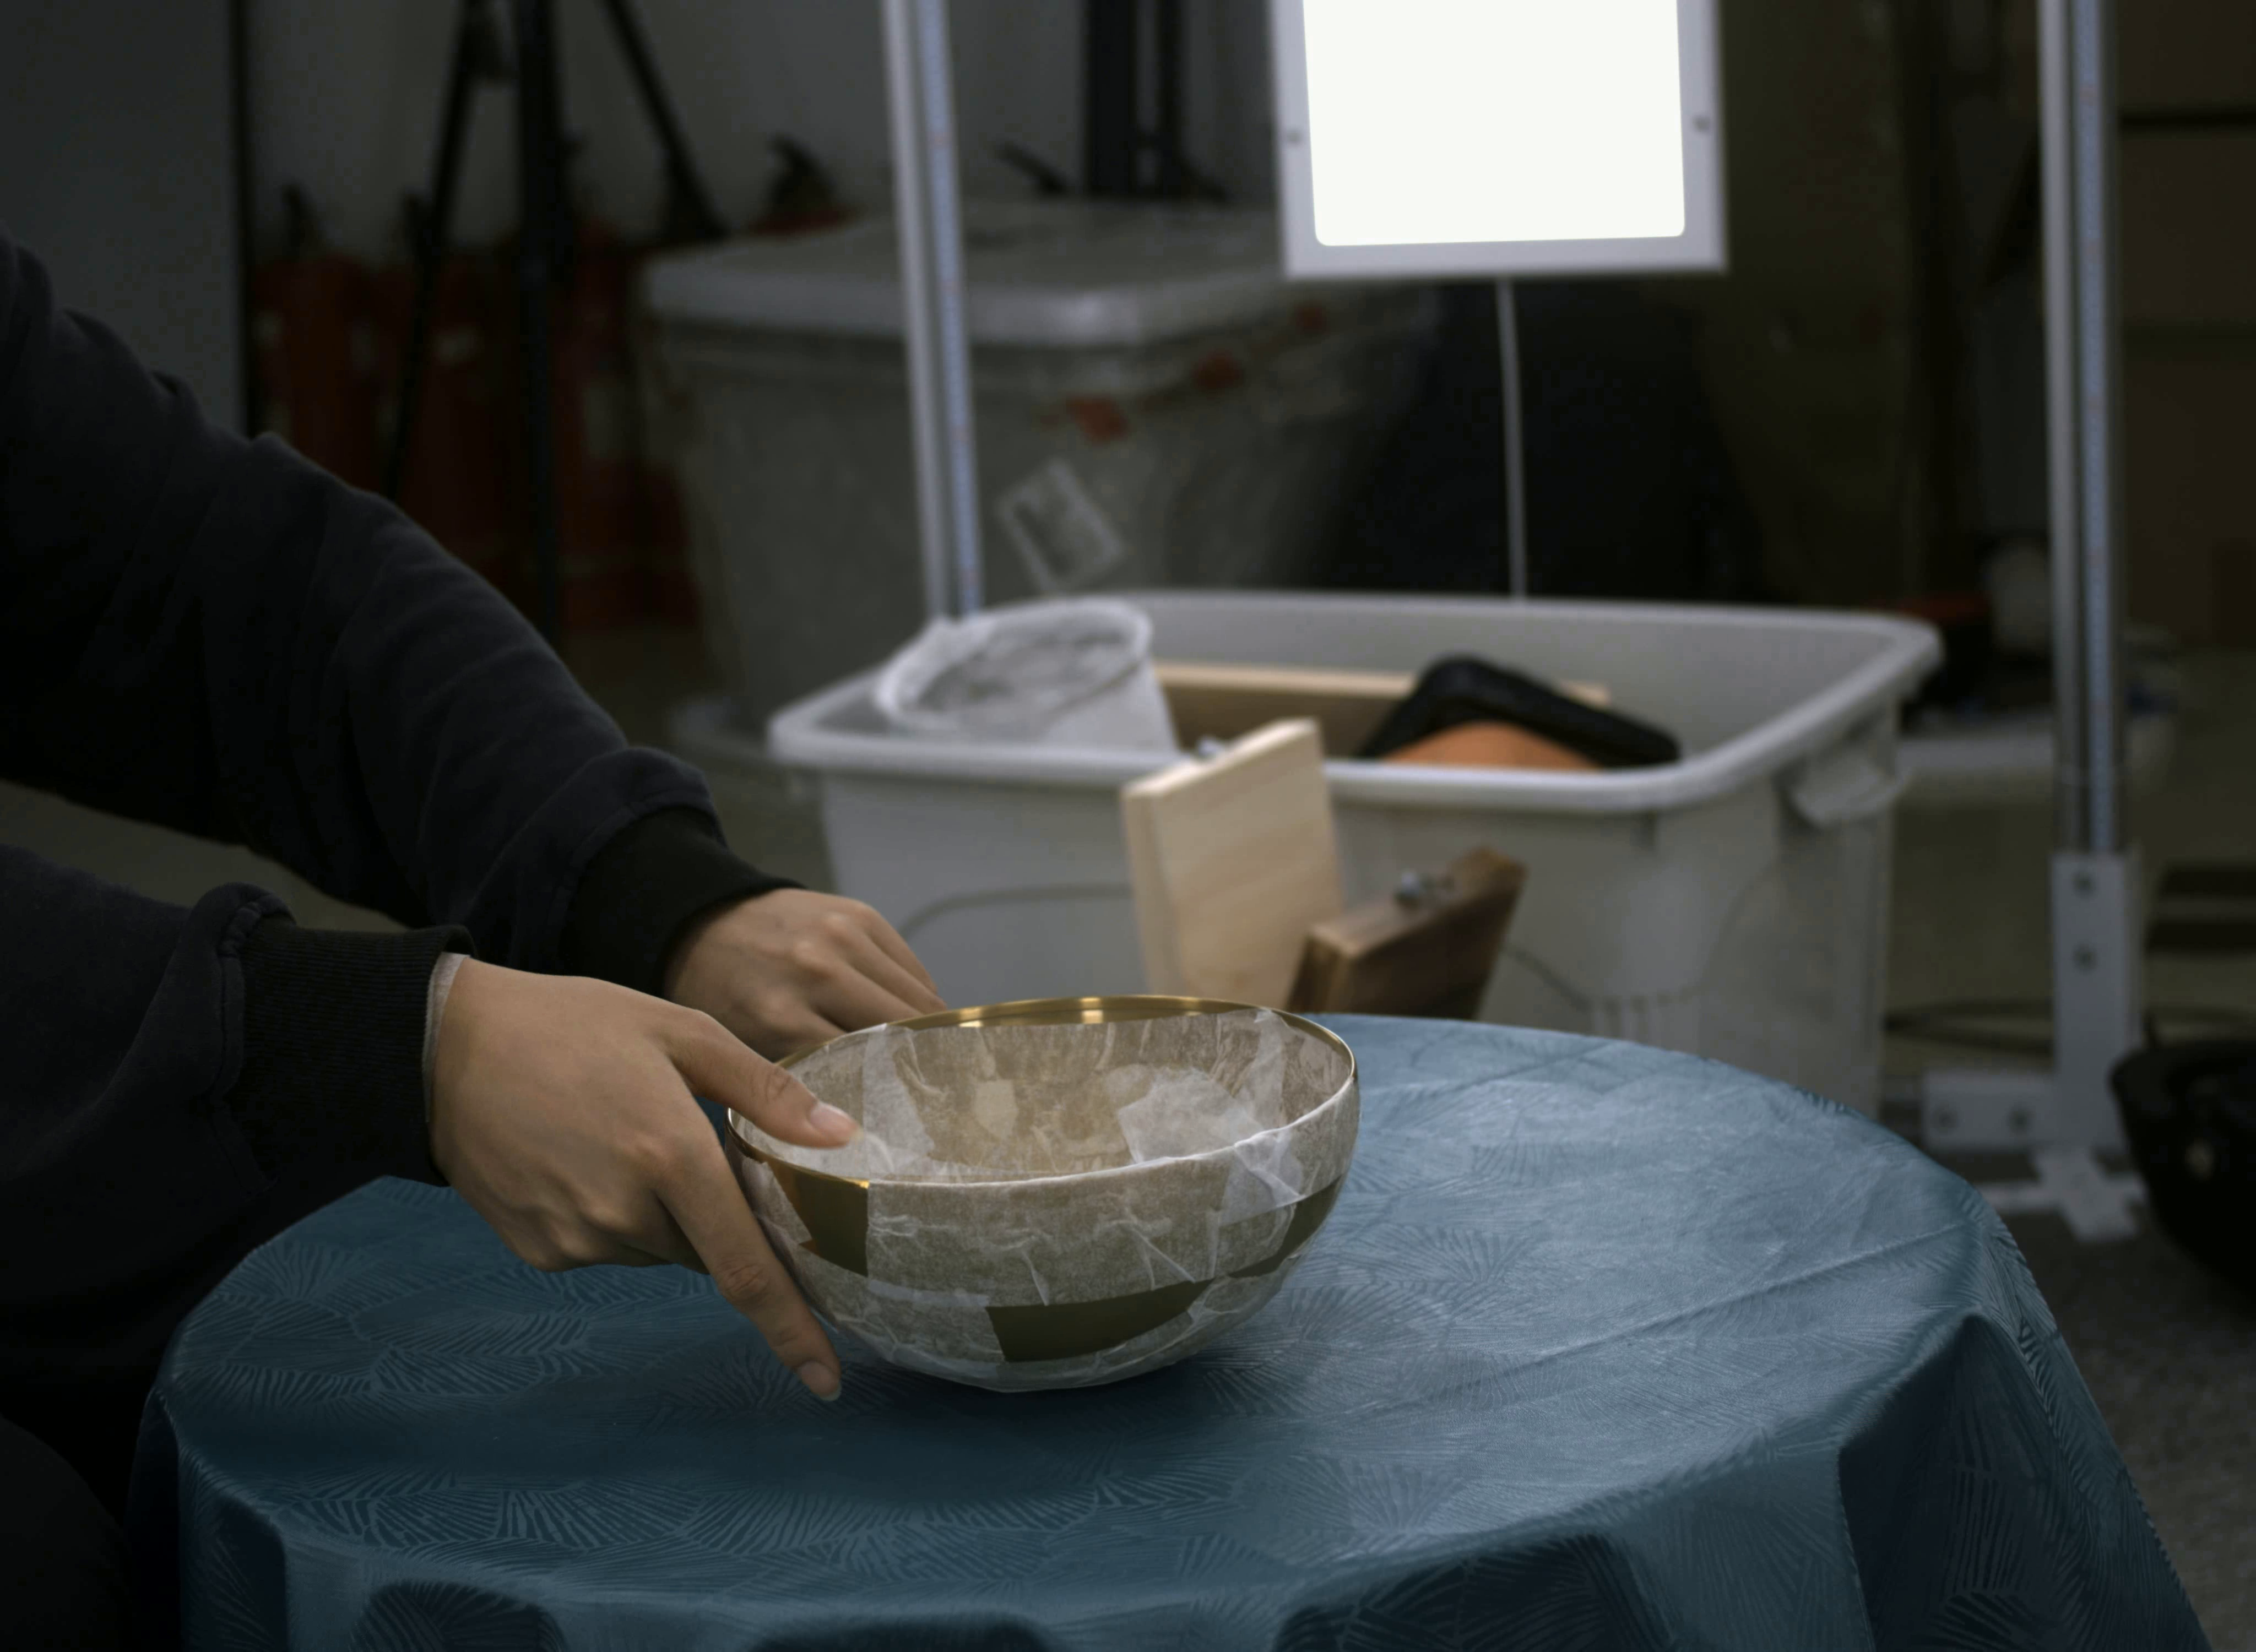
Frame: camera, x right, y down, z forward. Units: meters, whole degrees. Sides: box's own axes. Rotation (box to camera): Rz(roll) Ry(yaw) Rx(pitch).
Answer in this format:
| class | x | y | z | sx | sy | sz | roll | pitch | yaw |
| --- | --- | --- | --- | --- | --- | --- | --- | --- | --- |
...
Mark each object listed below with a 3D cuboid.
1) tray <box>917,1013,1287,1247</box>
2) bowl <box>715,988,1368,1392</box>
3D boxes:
| class | x | y | z | sx | sy | sz | roll | pitch | yaw |
| --- | --- | --- | --- | --- | --- | --- | --- | --- | --- |
| tray | -0.007 | 0.106 | 1.952 | 0.103 | 0.020 | 0.228 | -3 | 15 | 15 |
| bowl | -0.023 | 0.121 | 1.732 | 0.214 | 0.095 | 0.214 | -6 | 14 | 0 |
